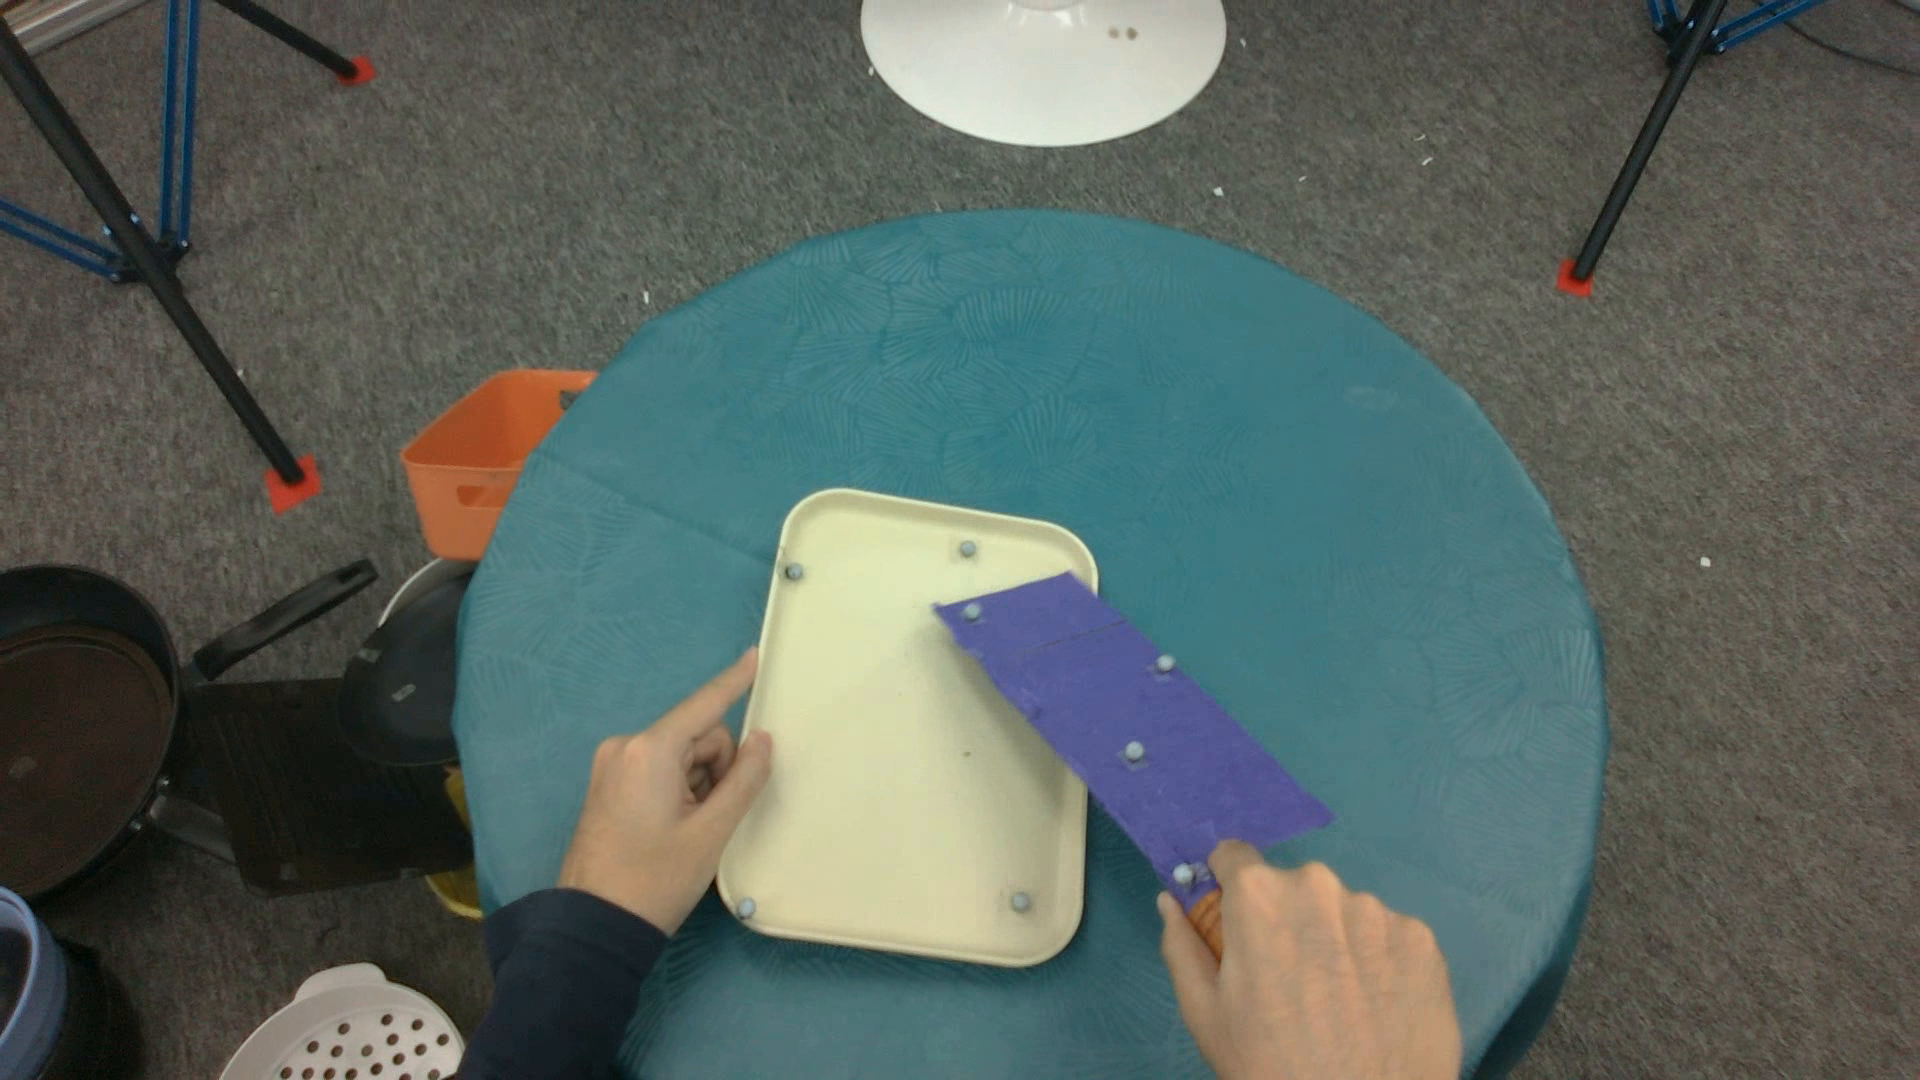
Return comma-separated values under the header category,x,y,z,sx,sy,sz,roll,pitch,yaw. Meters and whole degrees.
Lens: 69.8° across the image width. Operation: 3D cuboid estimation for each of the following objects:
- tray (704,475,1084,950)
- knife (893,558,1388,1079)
category,x,y,z,sx,sy,sz,roll,pitch,yaw
tray,-0.026,0.078,0.683,0.171,0.017,0.241,10,57,-5
knife,0.088,0.096,0.607,0.104,0.032,0.316,-14,40,-28
